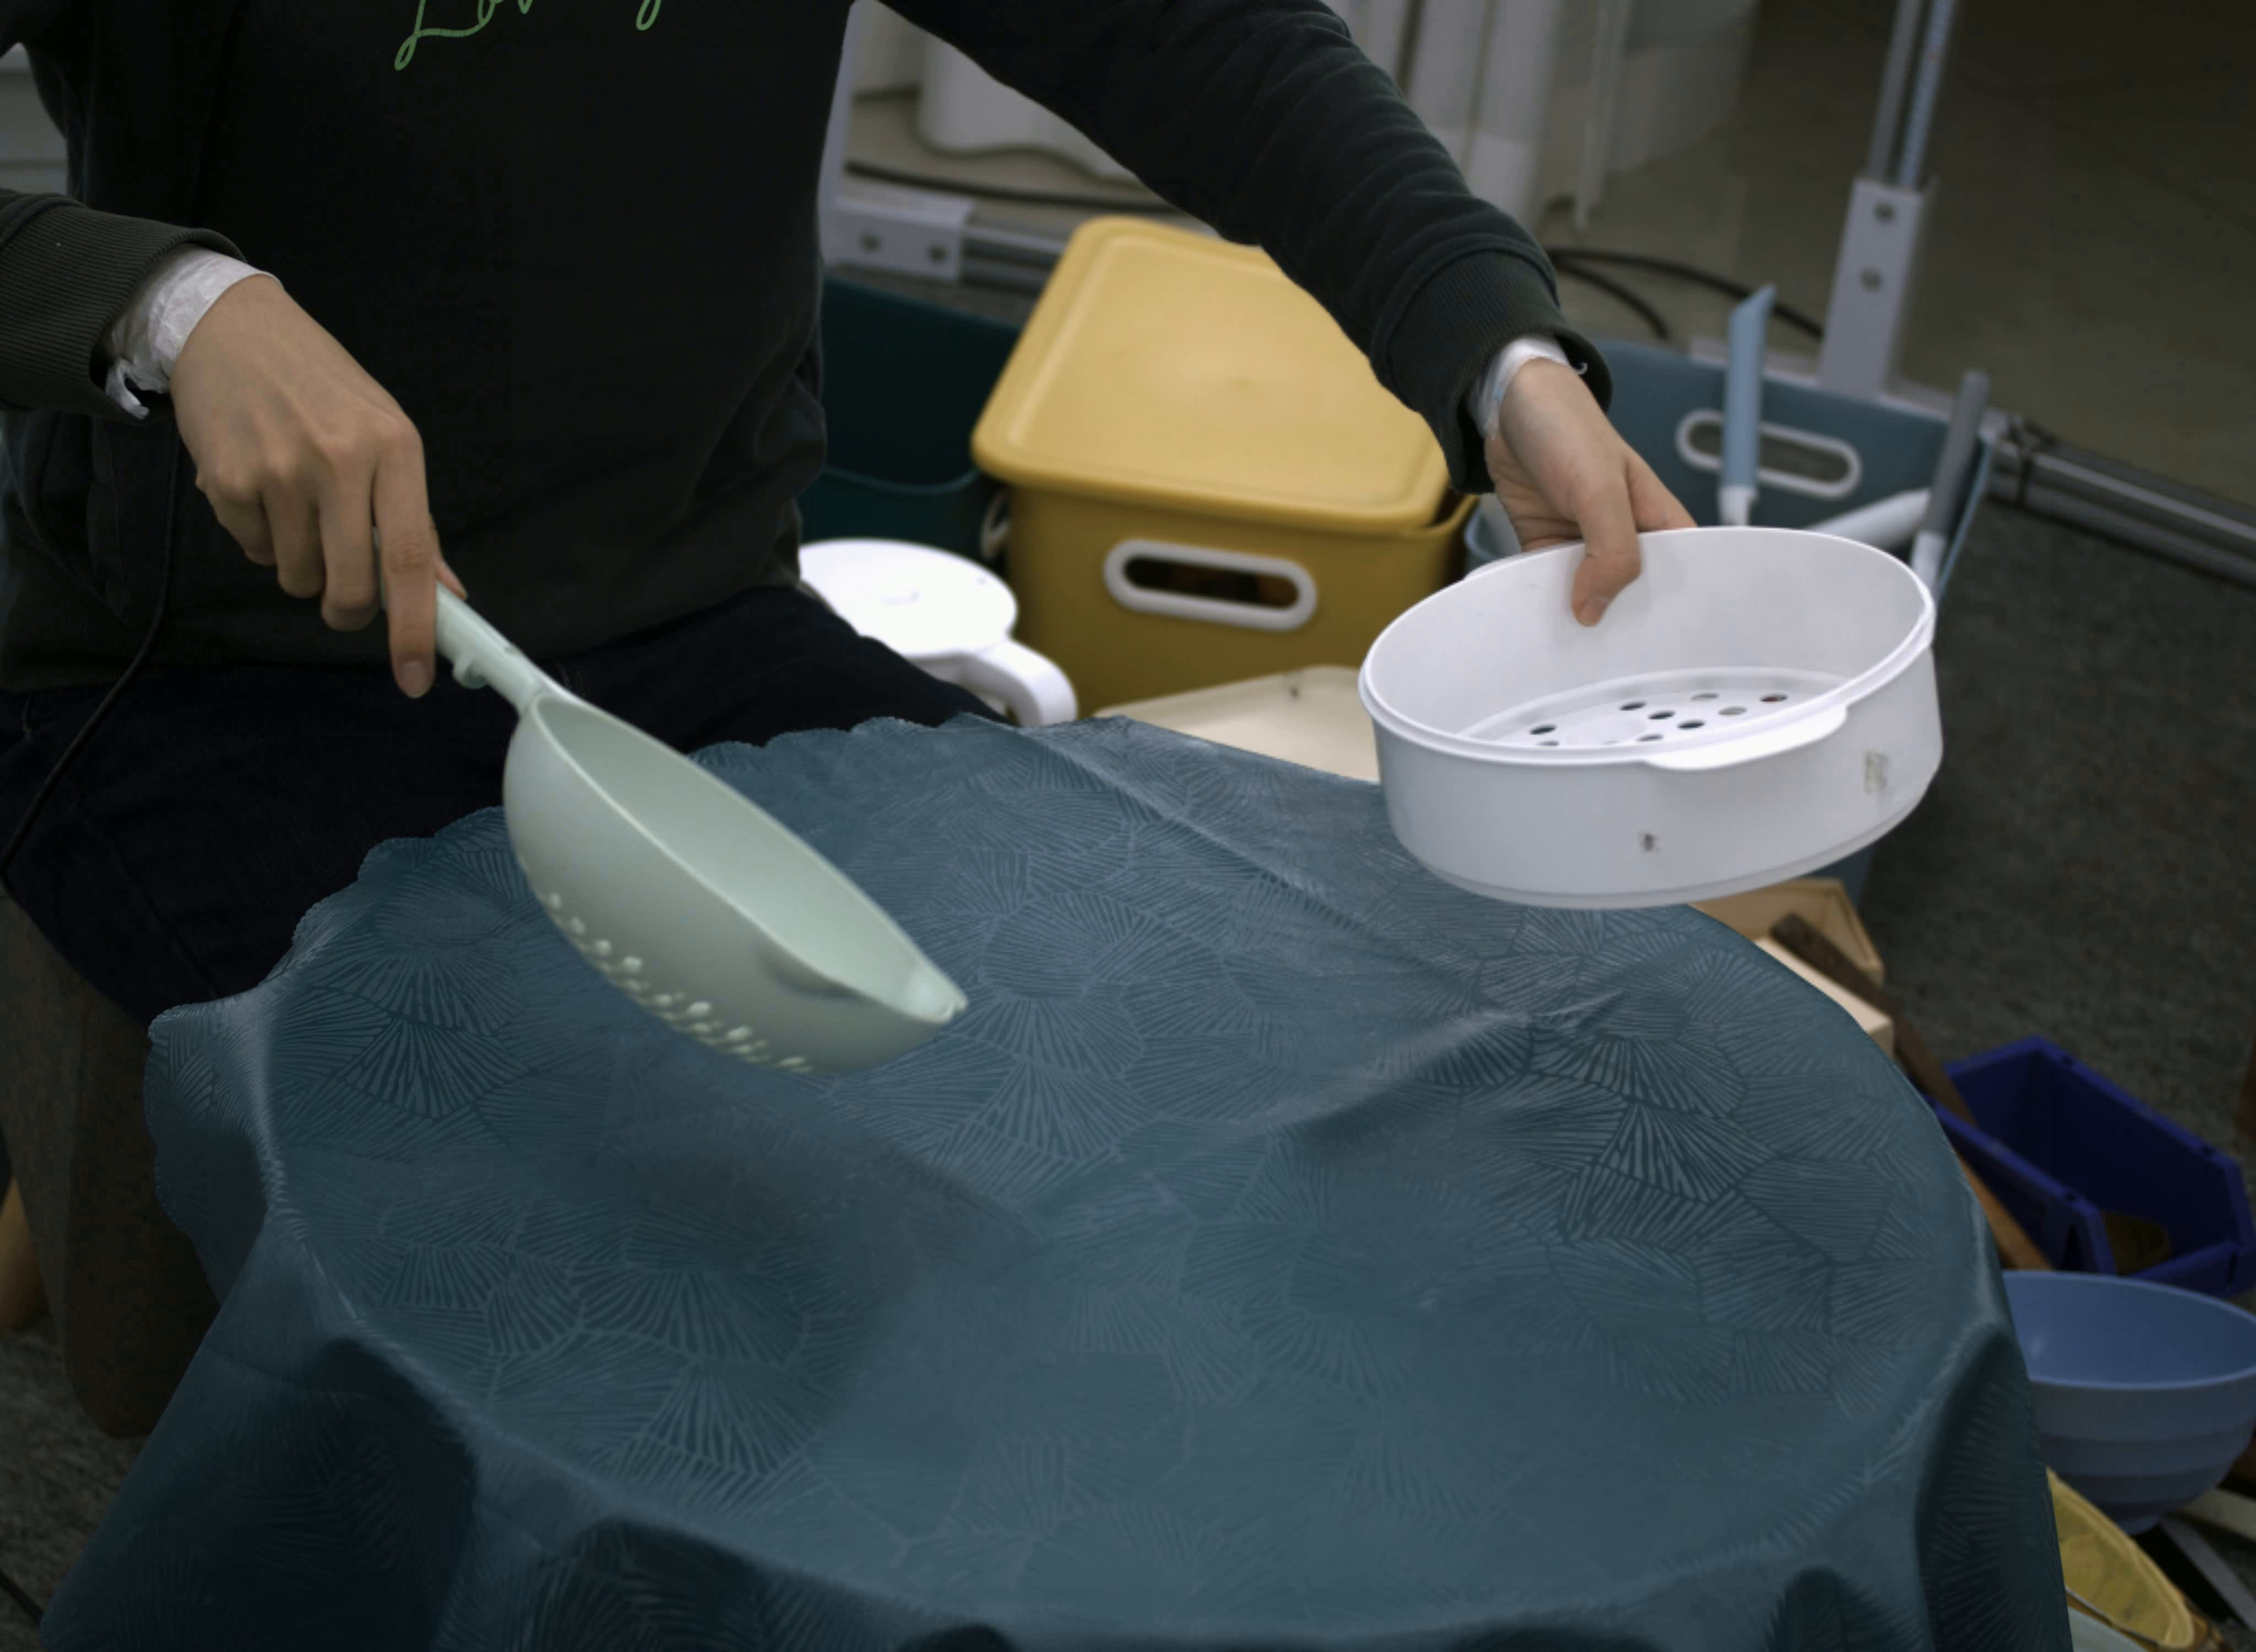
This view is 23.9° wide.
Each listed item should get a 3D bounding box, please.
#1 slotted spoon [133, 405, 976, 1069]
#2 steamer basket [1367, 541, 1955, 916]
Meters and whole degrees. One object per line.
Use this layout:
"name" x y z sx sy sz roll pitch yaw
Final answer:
"slotted spoon" -0.199 -0.041 1.745 0.361 0.075 0.168 48 9 20
"steamer basket" 0.186 -0.033 1.834 0.201 0.069 0.232 -14 22 -11
